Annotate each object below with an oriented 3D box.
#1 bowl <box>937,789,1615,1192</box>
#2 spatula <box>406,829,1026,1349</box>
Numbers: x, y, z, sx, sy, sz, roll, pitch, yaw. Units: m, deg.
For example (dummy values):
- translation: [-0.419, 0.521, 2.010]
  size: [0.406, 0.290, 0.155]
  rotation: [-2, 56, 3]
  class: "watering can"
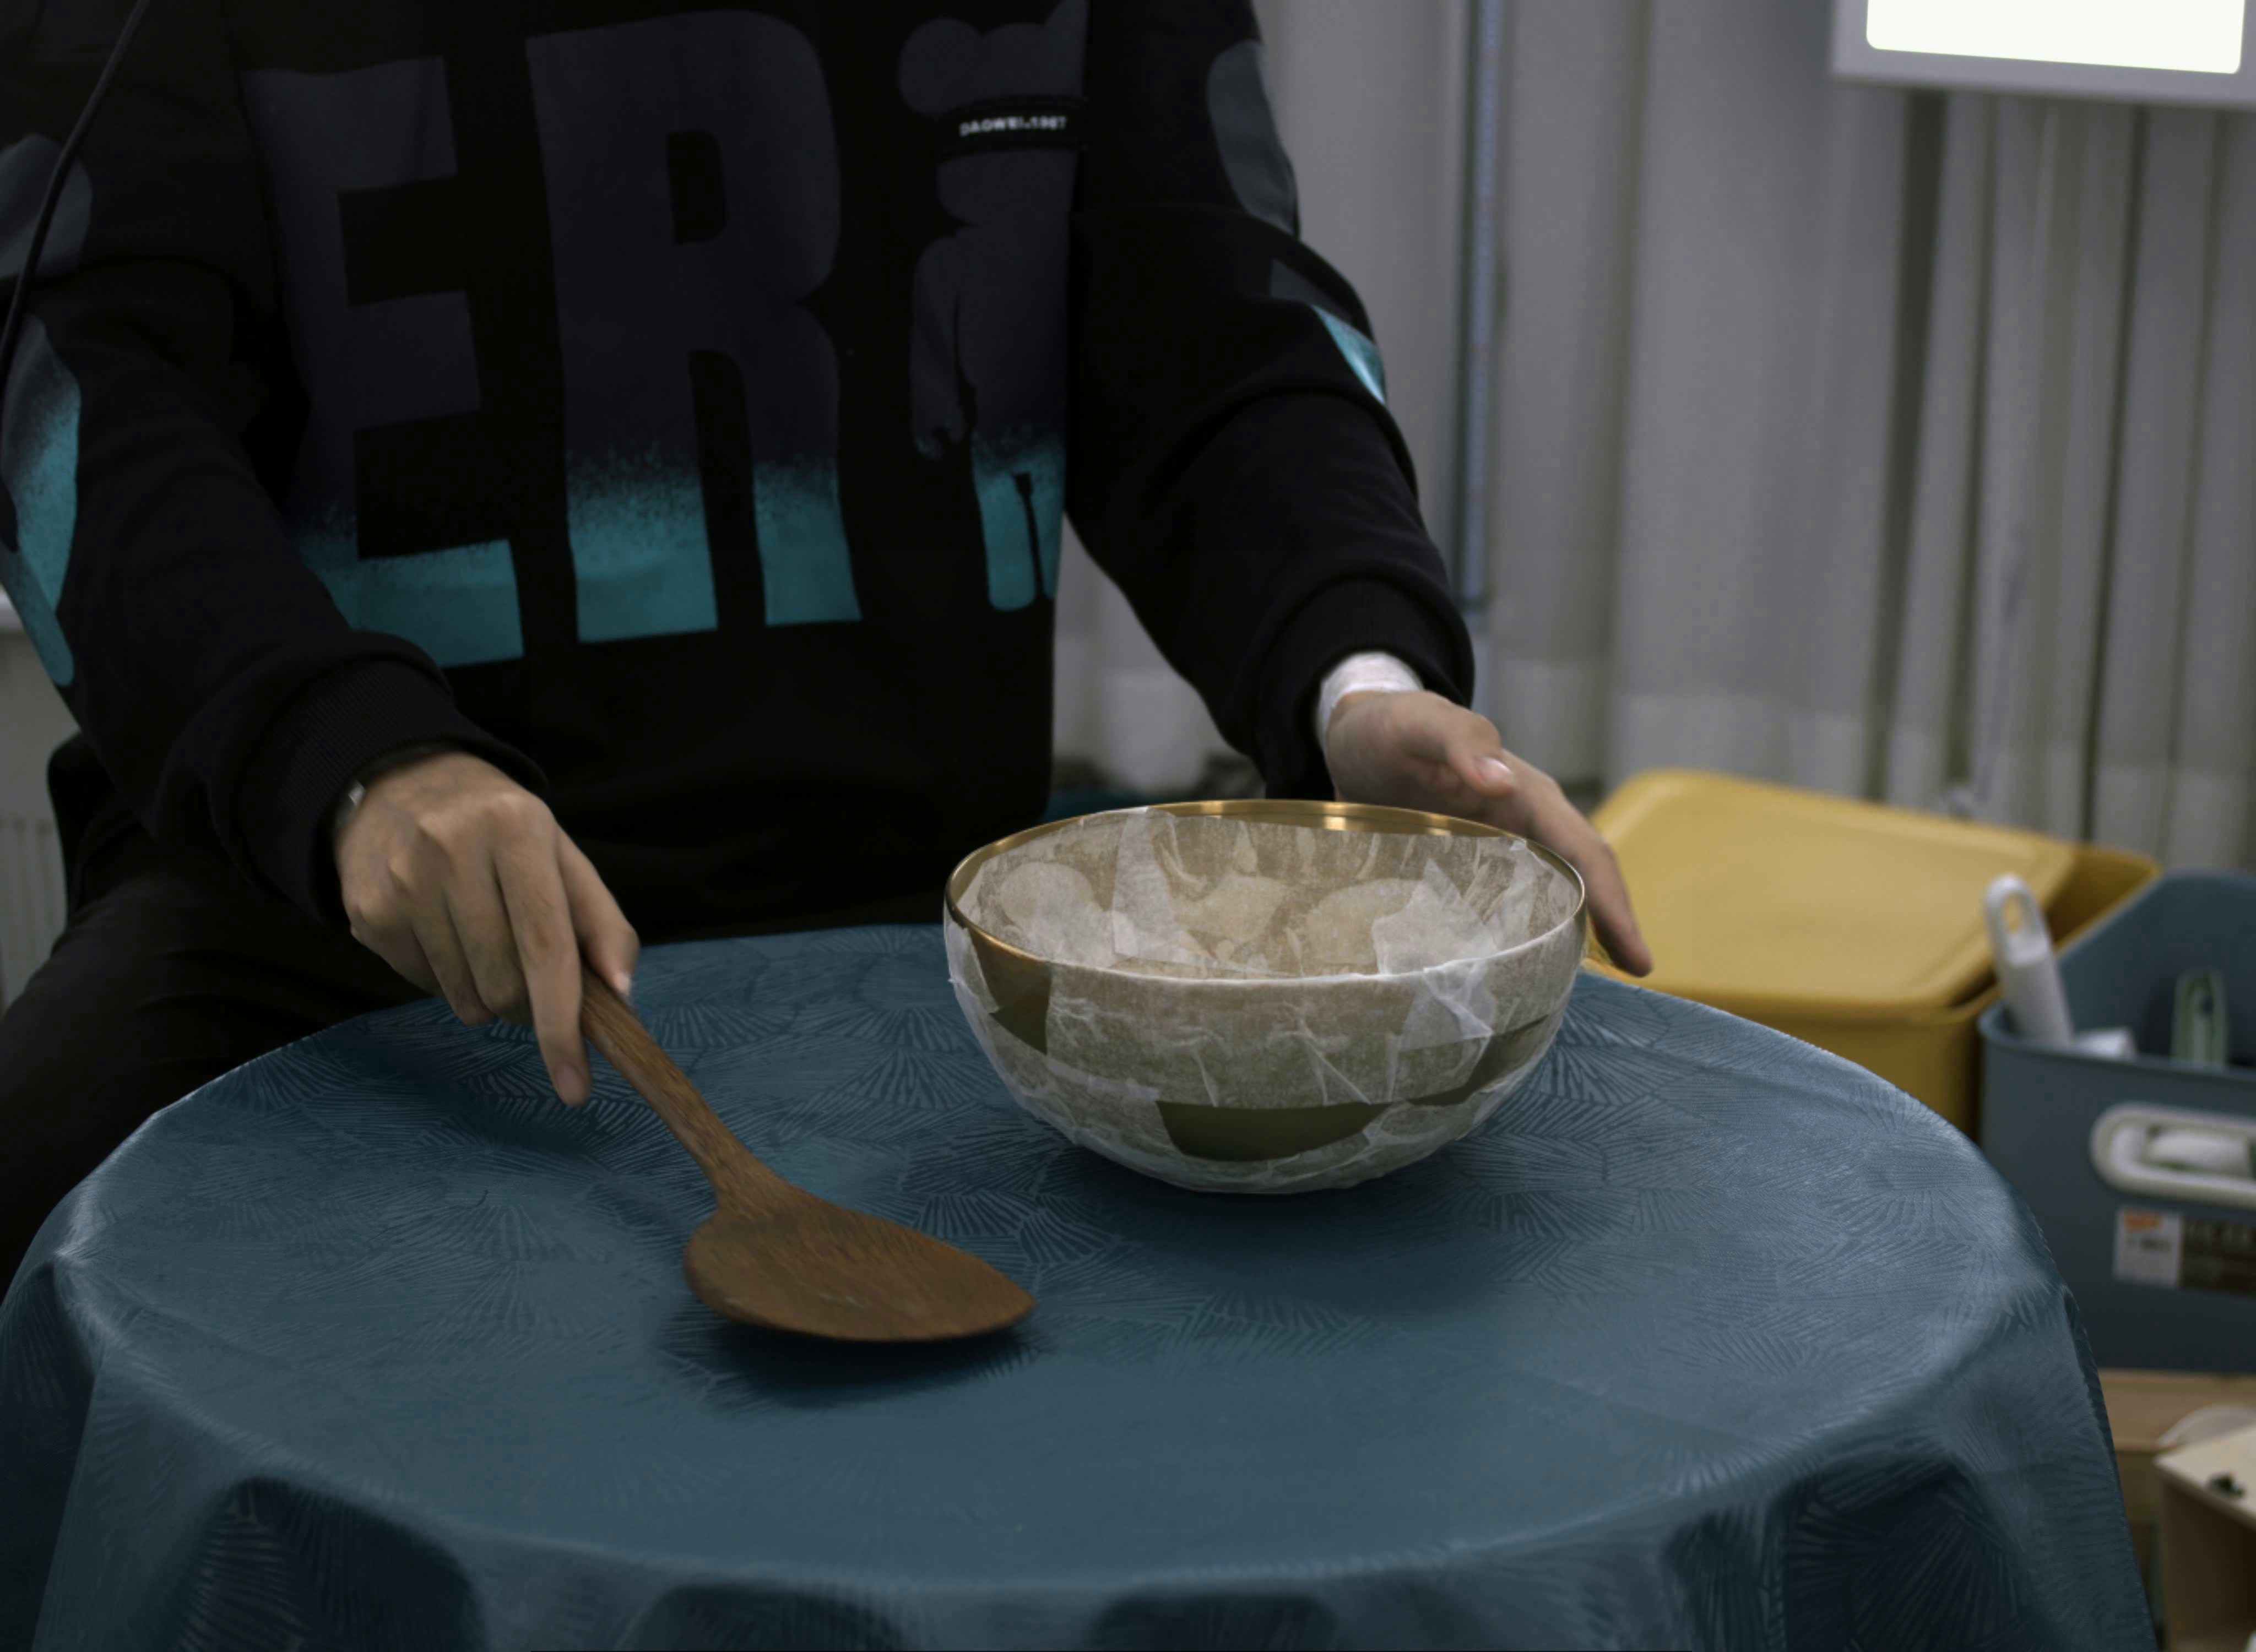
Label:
- translation: [0.045, 0.059, 1.644]
  size: [0.214, 0.095, 0.213]
  rotation: [-1, 16, 1]
  class: "bowl"
- translation: [-0.149, 0.073, 1.619]
  size: [0.096, 0.016, 0.380]
  rotation: [-2, 24, -29]
  class: "spatula"
